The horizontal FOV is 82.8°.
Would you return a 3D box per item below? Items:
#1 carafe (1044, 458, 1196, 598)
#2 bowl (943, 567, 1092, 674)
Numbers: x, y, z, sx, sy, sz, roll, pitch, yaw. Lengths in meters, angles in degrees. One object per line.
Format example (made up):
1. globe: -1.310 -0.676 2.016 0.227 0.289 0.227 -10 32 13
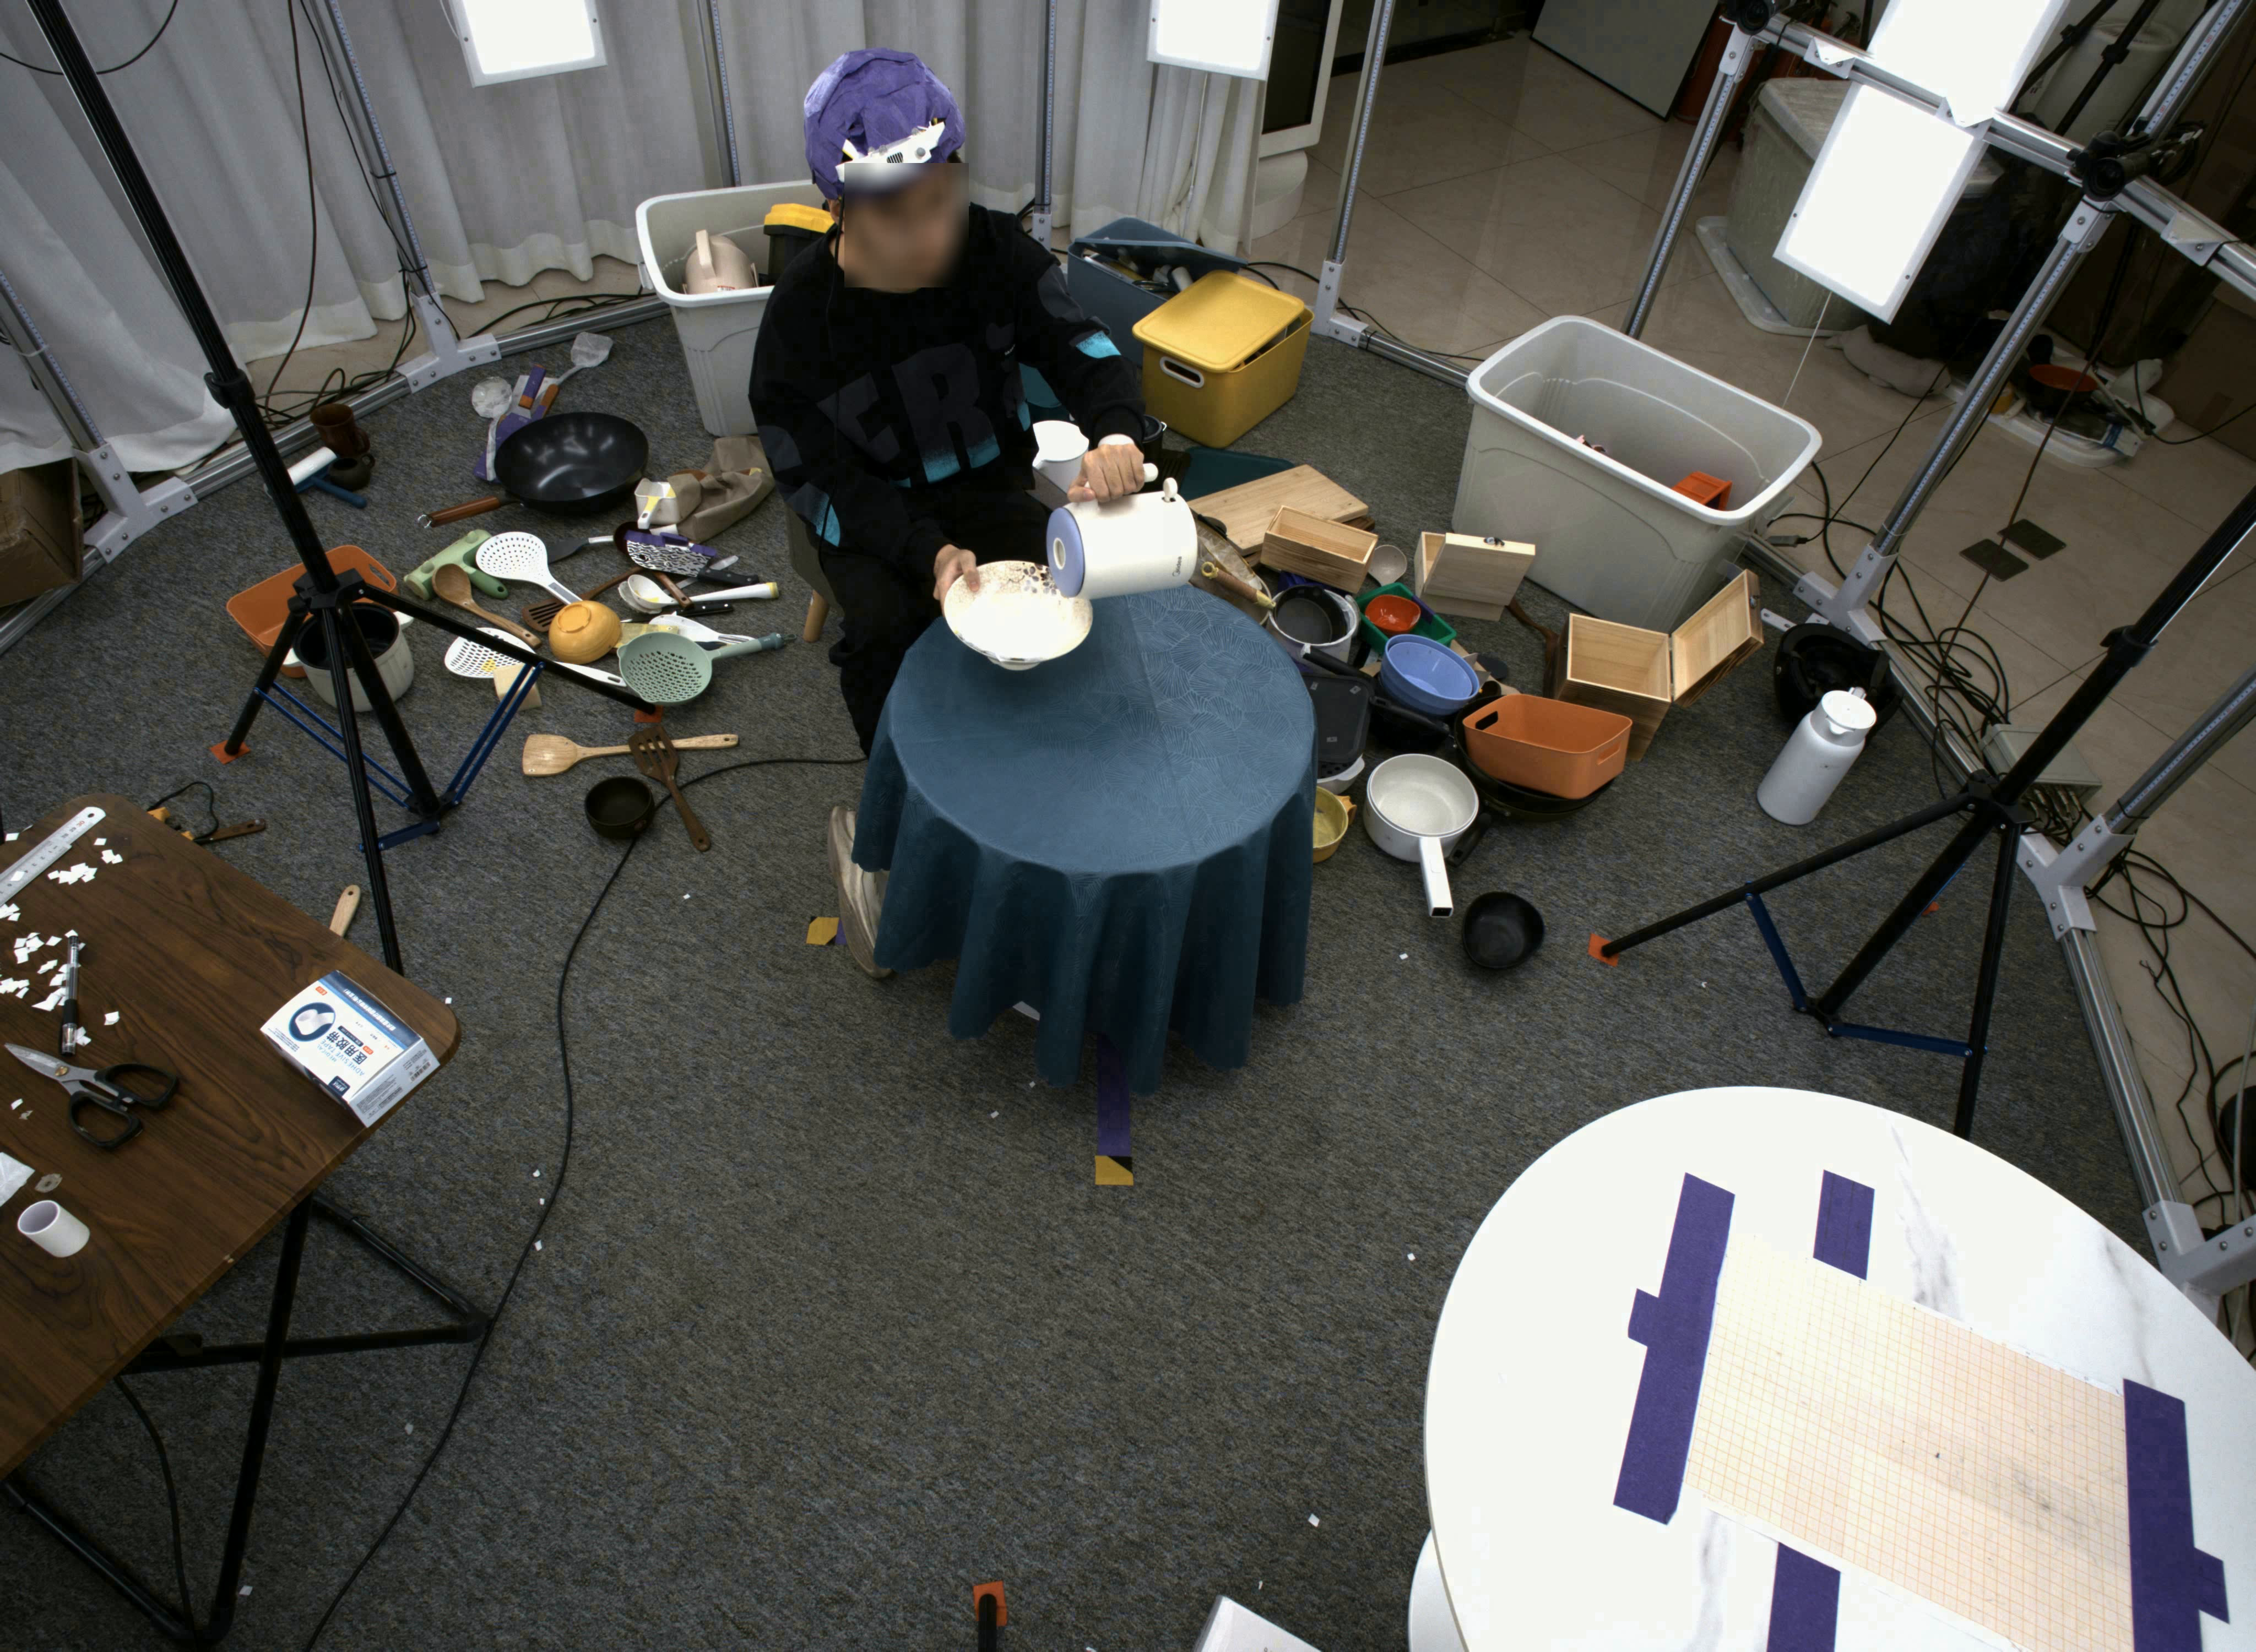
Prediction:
1. carafe: -0.008 -0.396 1.715 0.182 0.187 0.135 -10 43 -24
2. bowl: -0.154 -0.269 1.785 0.204 0.076 0.209 4 45 -4
